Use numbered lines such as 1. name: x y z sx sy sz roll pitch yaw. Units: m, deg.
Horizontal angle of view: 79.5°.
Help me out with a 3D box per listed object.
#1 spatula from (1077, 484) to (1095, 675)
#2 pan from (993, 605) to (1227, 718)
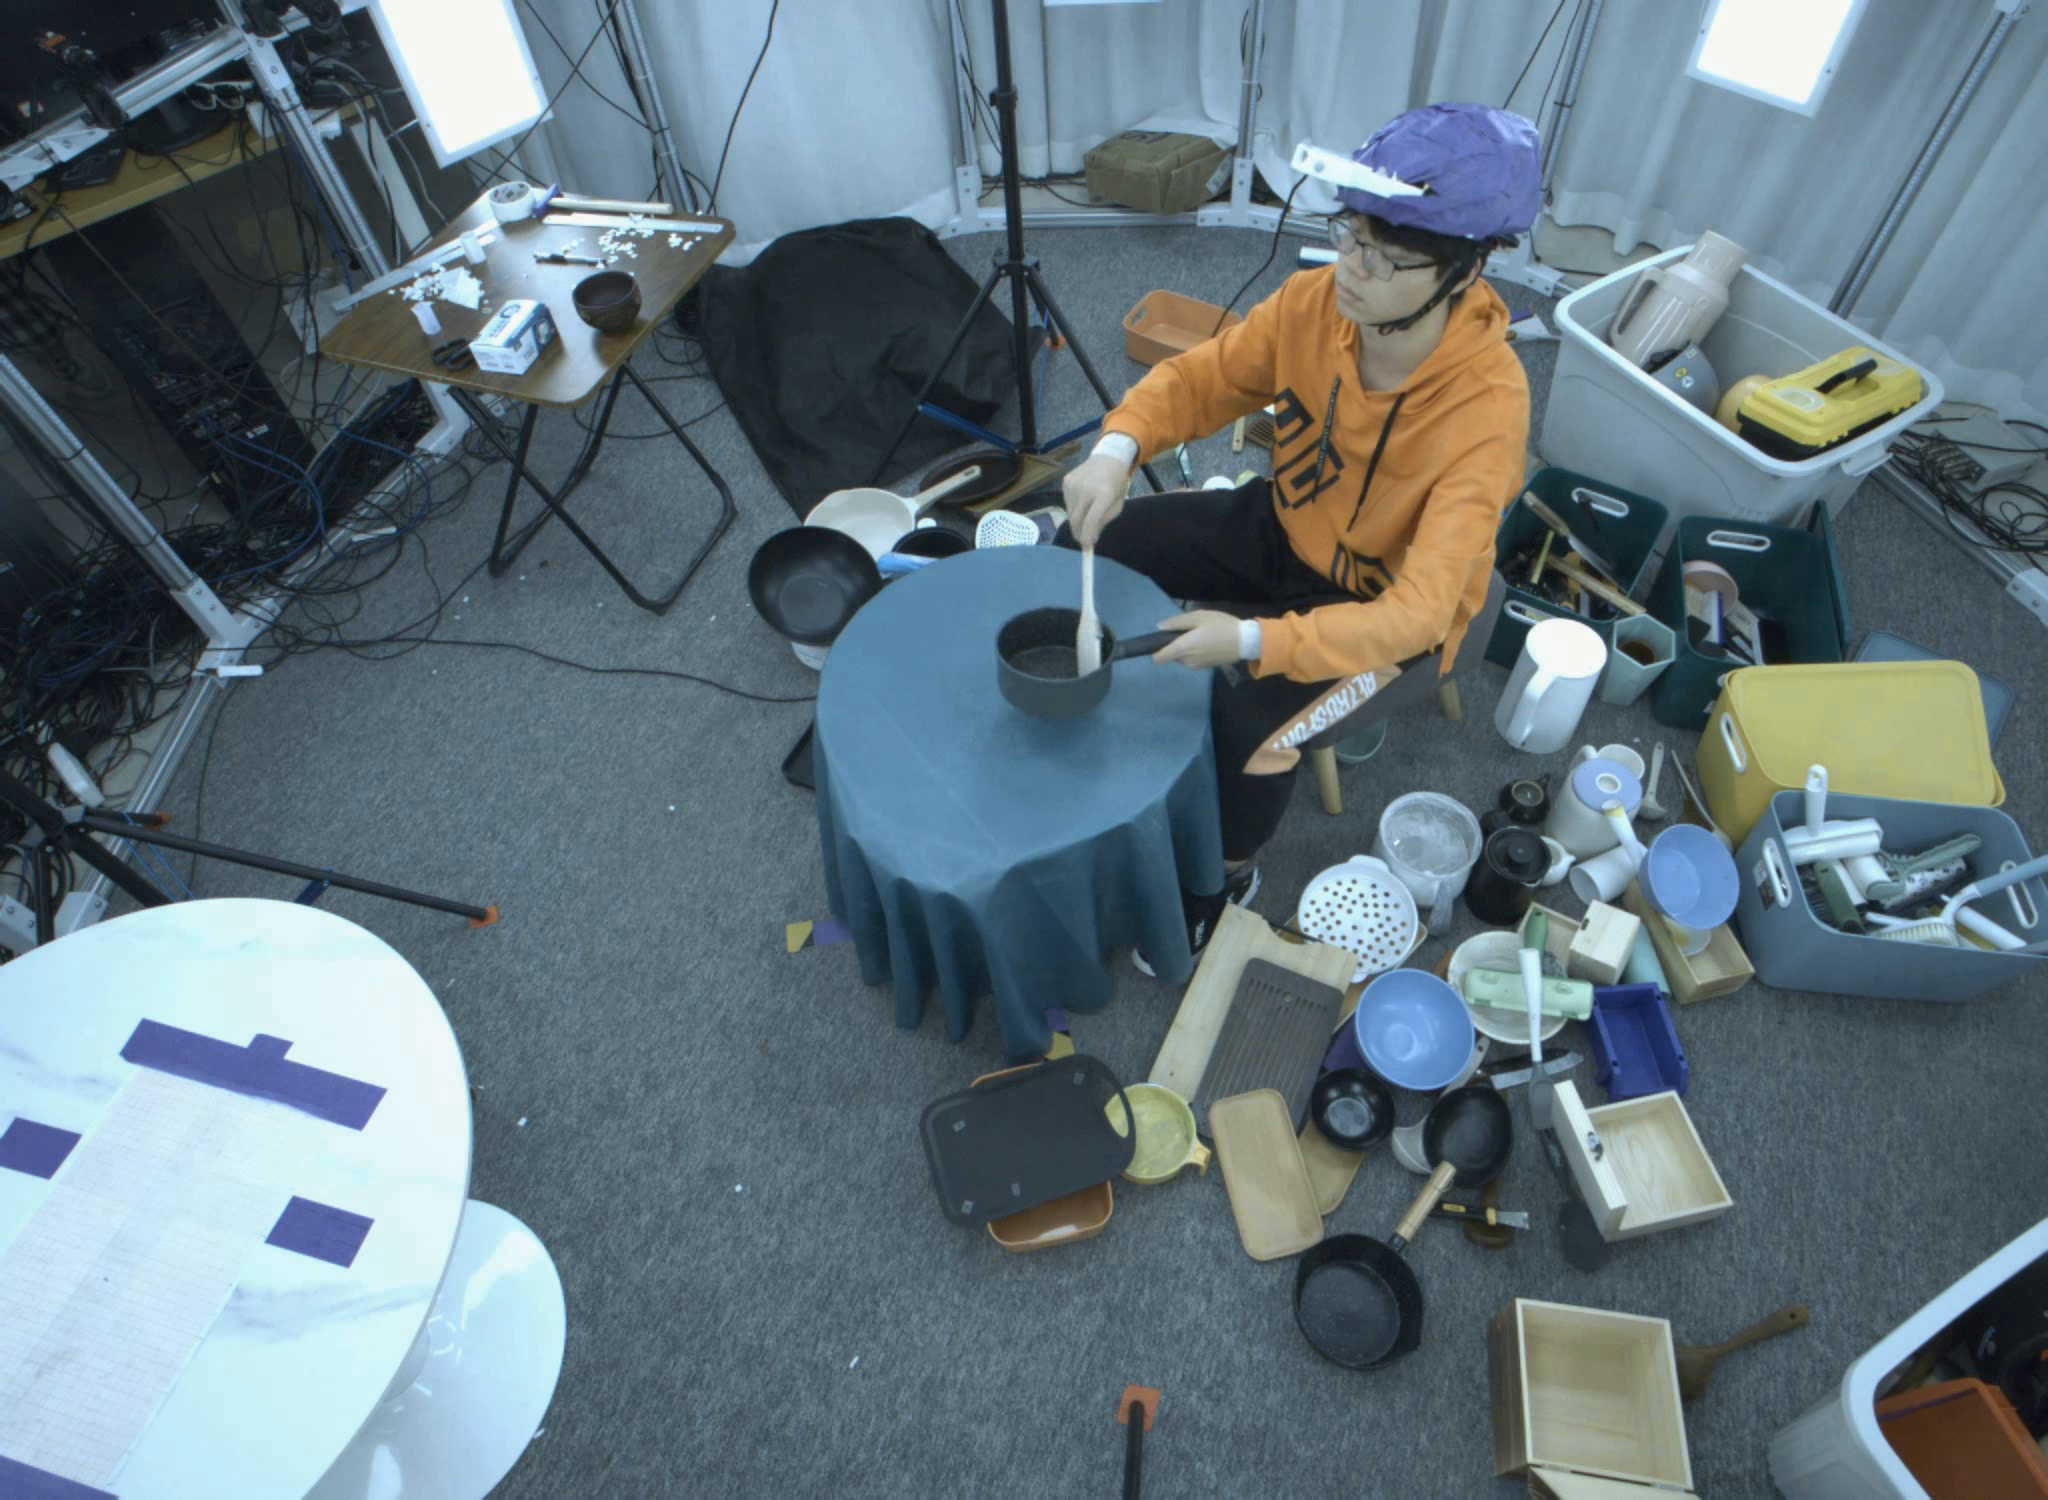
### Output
1. spatula: 0.086 -0.245 1.746 0.011 0.072 0.291 3 76 -11
2. pan: 0.121 -0.132 1.749 0.330 0.087 0.169 -4 46 -4
